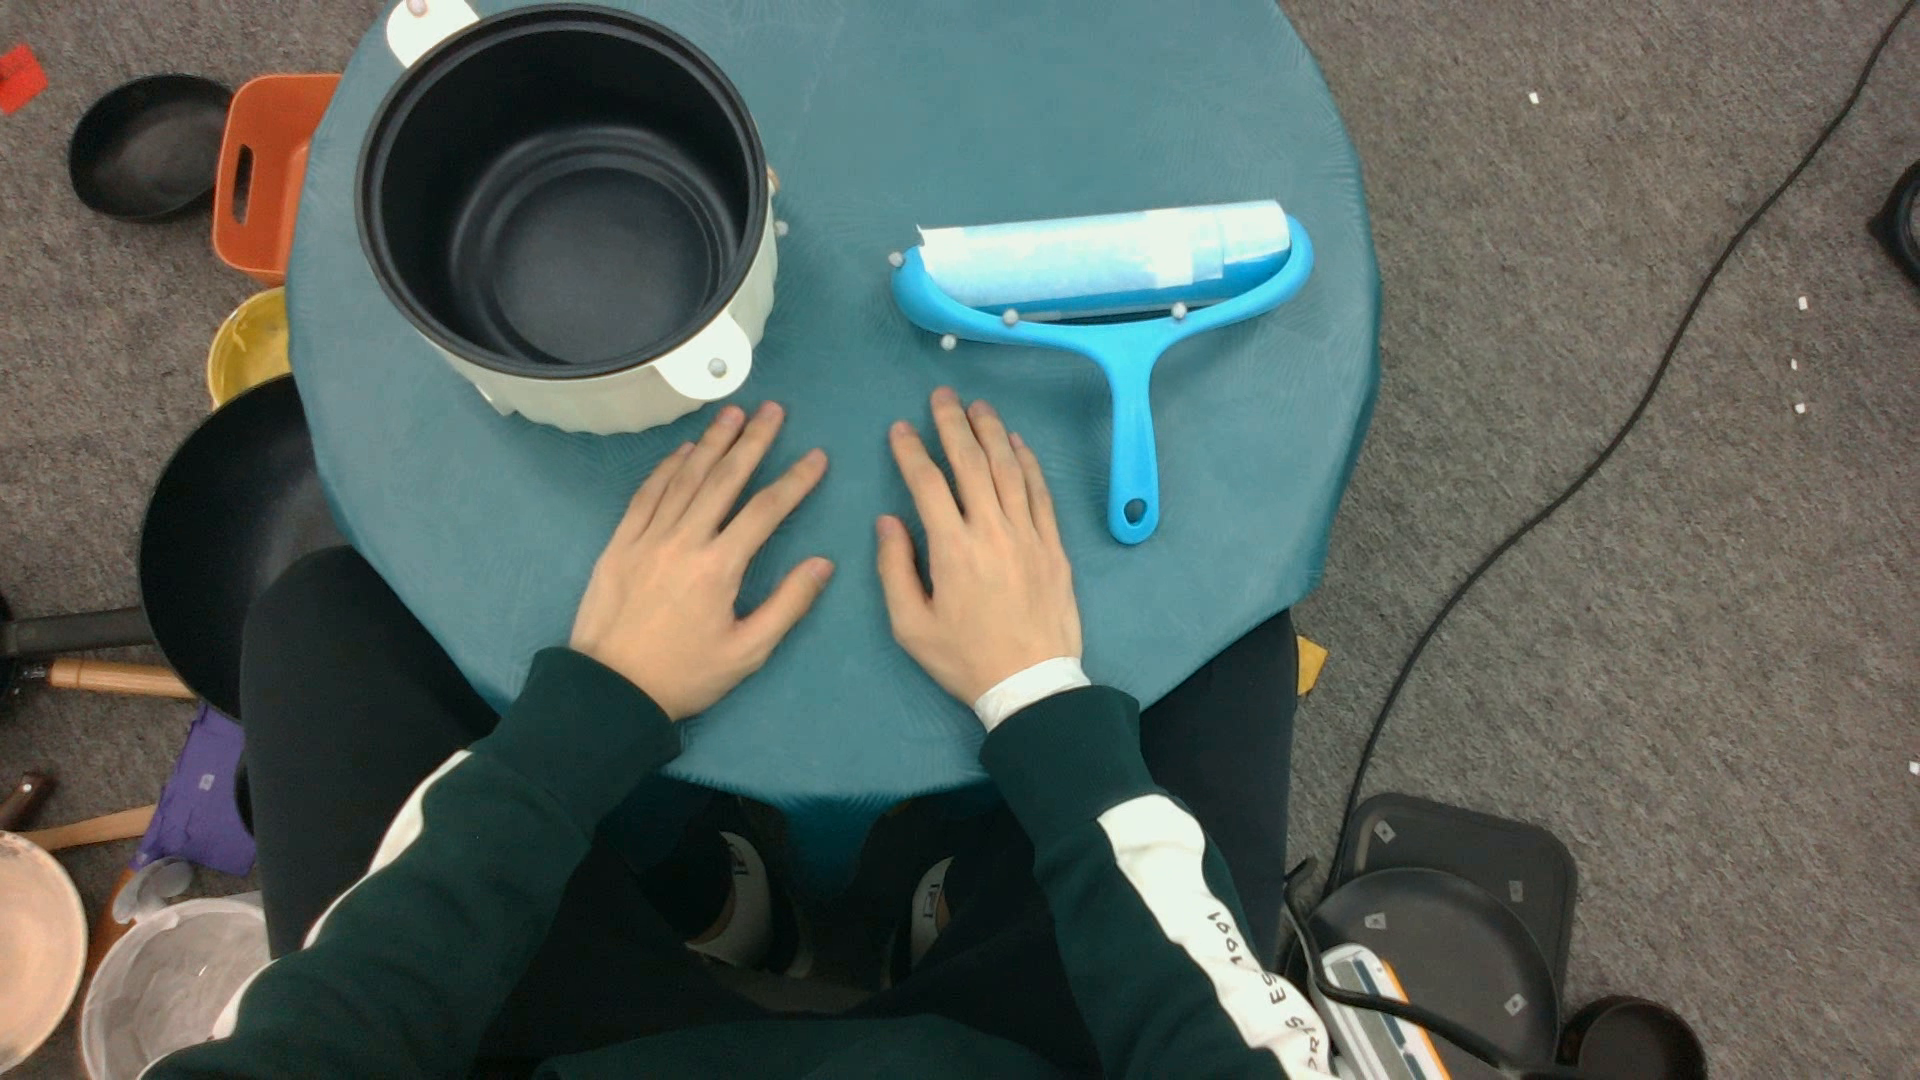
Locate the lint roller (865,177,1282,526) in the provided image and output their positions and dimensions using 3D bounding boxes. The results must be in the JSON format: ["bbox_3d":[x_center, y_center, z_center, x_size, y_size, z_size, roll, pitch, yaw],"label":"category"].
[{"bbox_3d":[0.075,-0.101,0.735,0.229,0.068,0.180,-11,78,-9],"label":"lint roller"}]

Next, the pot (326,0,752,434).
[{"bbox_3d":[-0.190,-0.150,0.682,0.191,0.142,0.240,-42,85,-8],"label":"pot"}]
